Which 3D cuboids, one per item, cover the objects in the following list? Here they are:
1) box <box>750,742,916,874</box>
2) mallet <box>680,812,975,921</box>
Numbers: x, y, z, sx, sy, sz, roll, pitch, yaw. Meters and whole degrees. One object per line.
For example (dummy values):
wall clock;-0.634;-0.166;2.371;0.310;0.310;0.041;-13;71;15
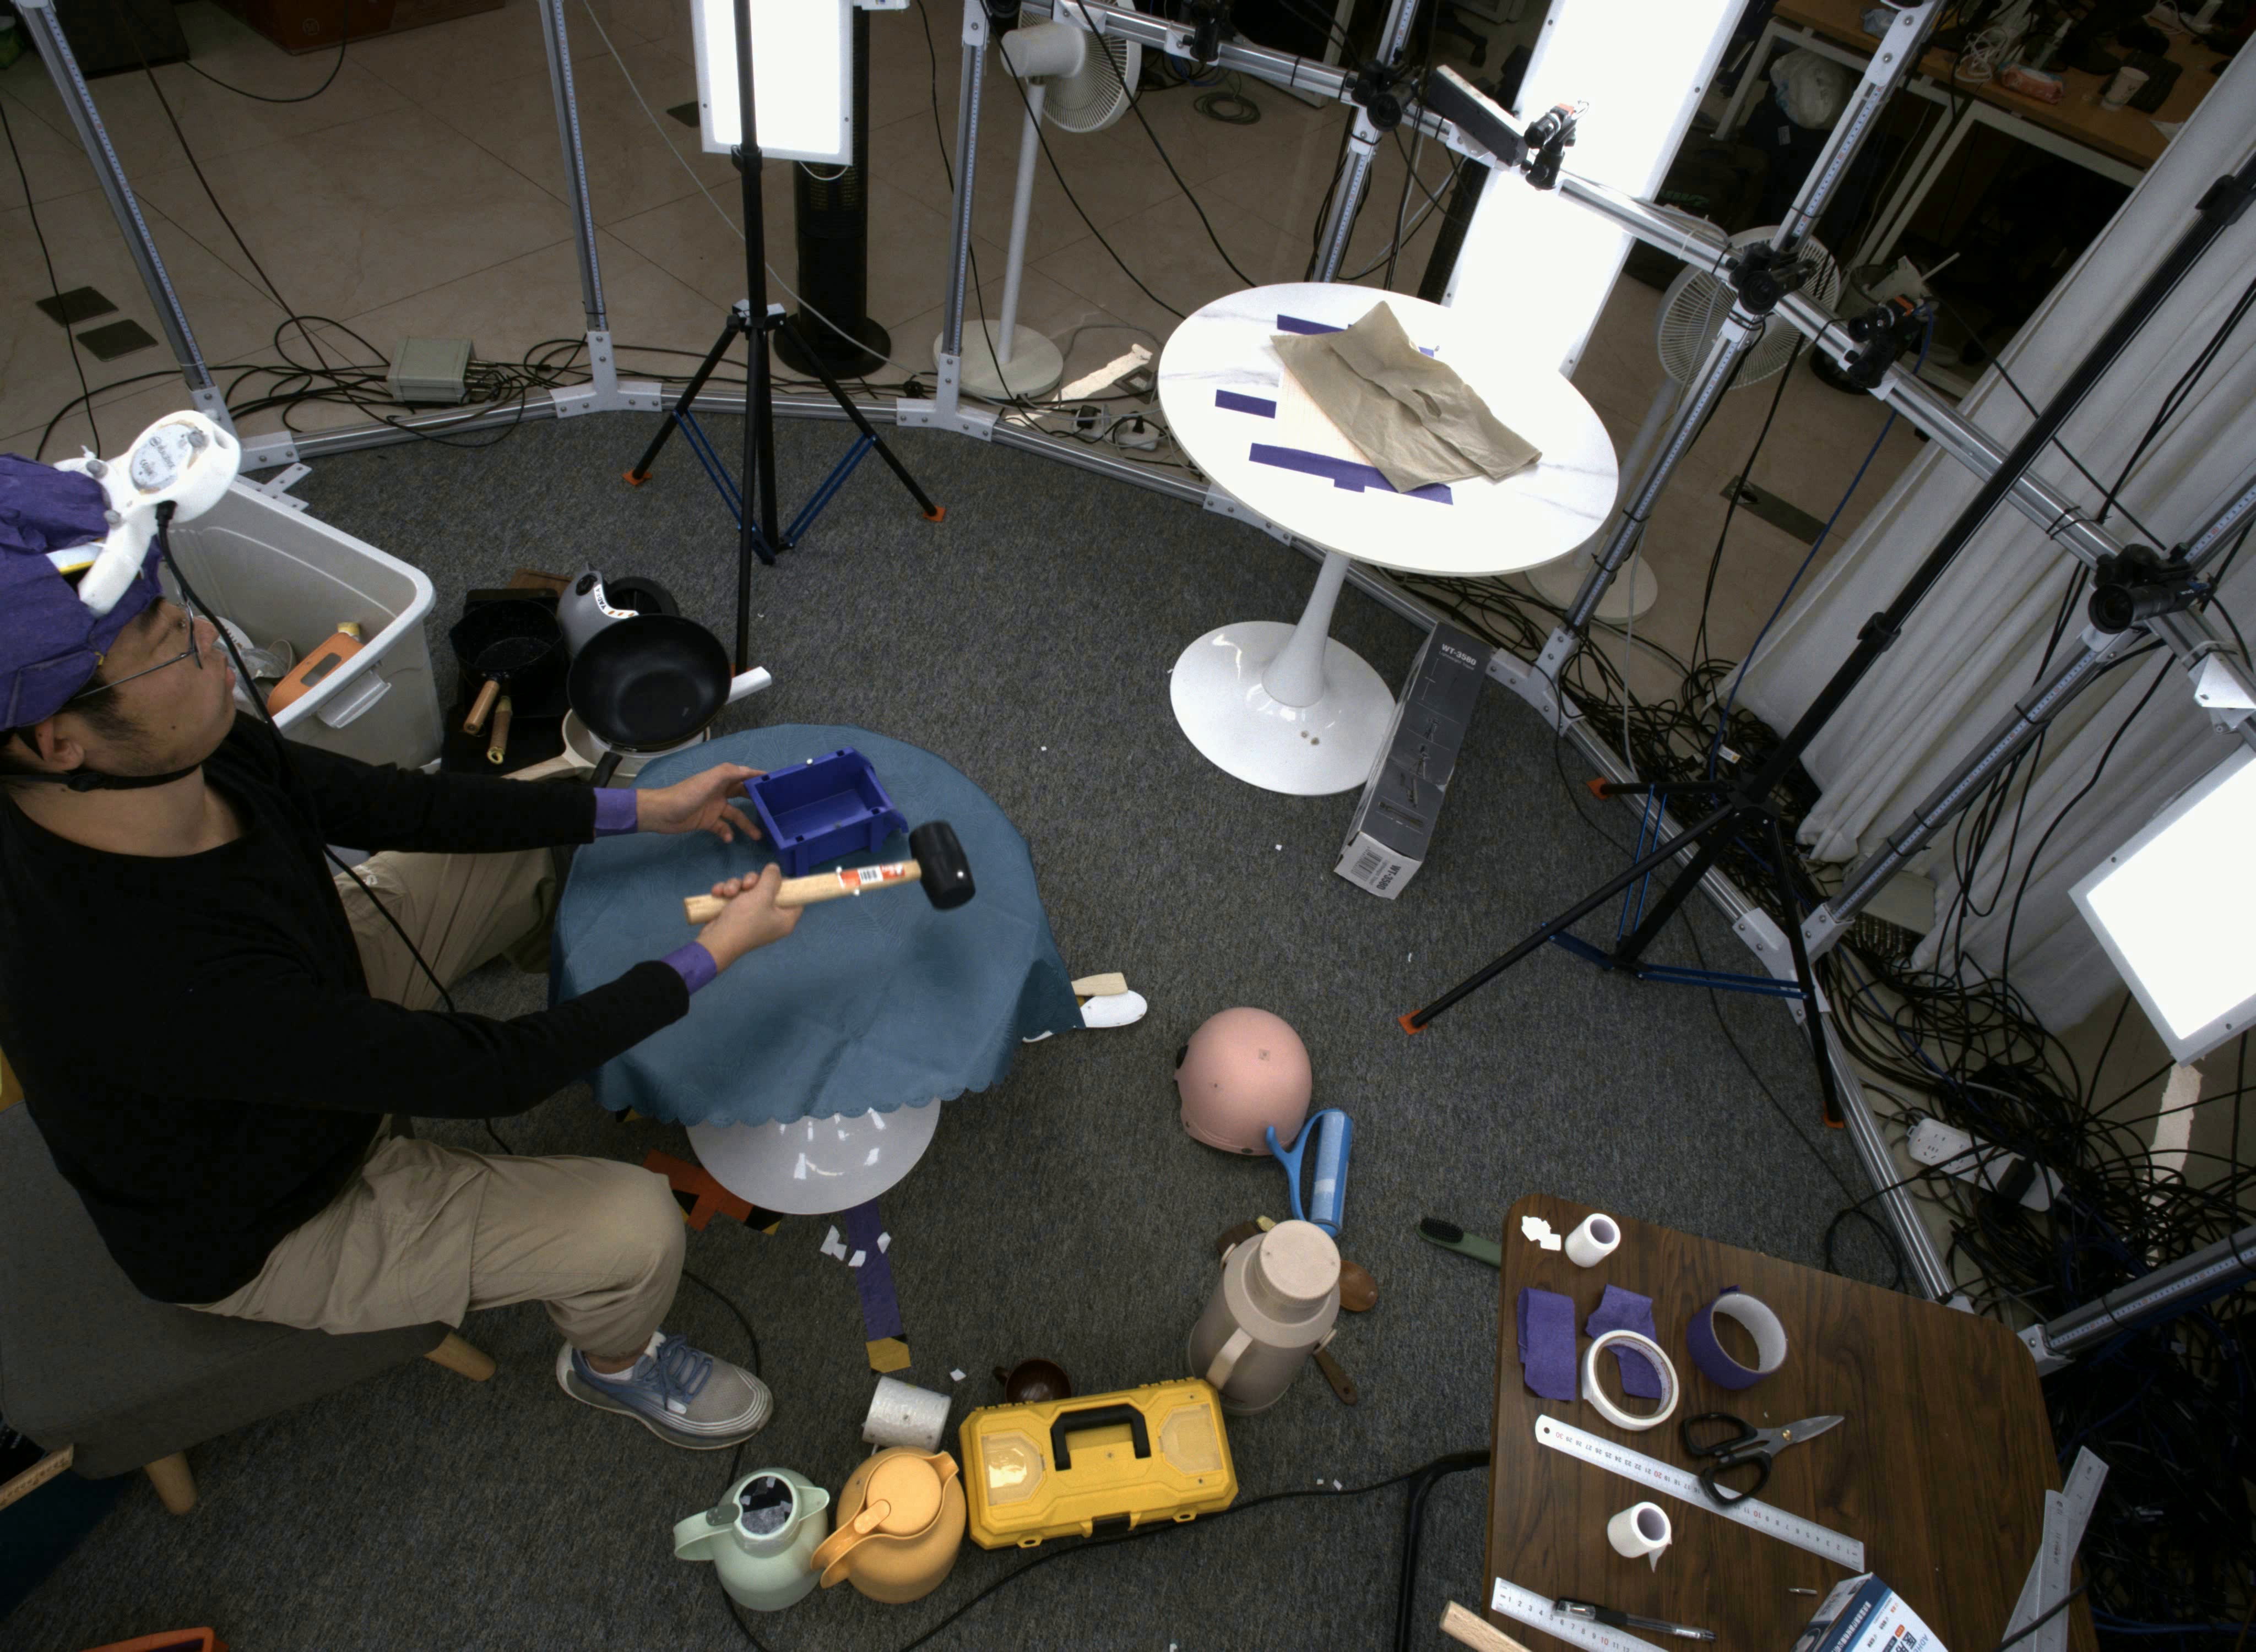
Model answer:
box;-0.385;-0.026;1.698;0.180;0.084;0.121;-24;61;-23
mallet;-0.344;0.057;1.503;0.343;0.065;0.099;-9;58;-31
